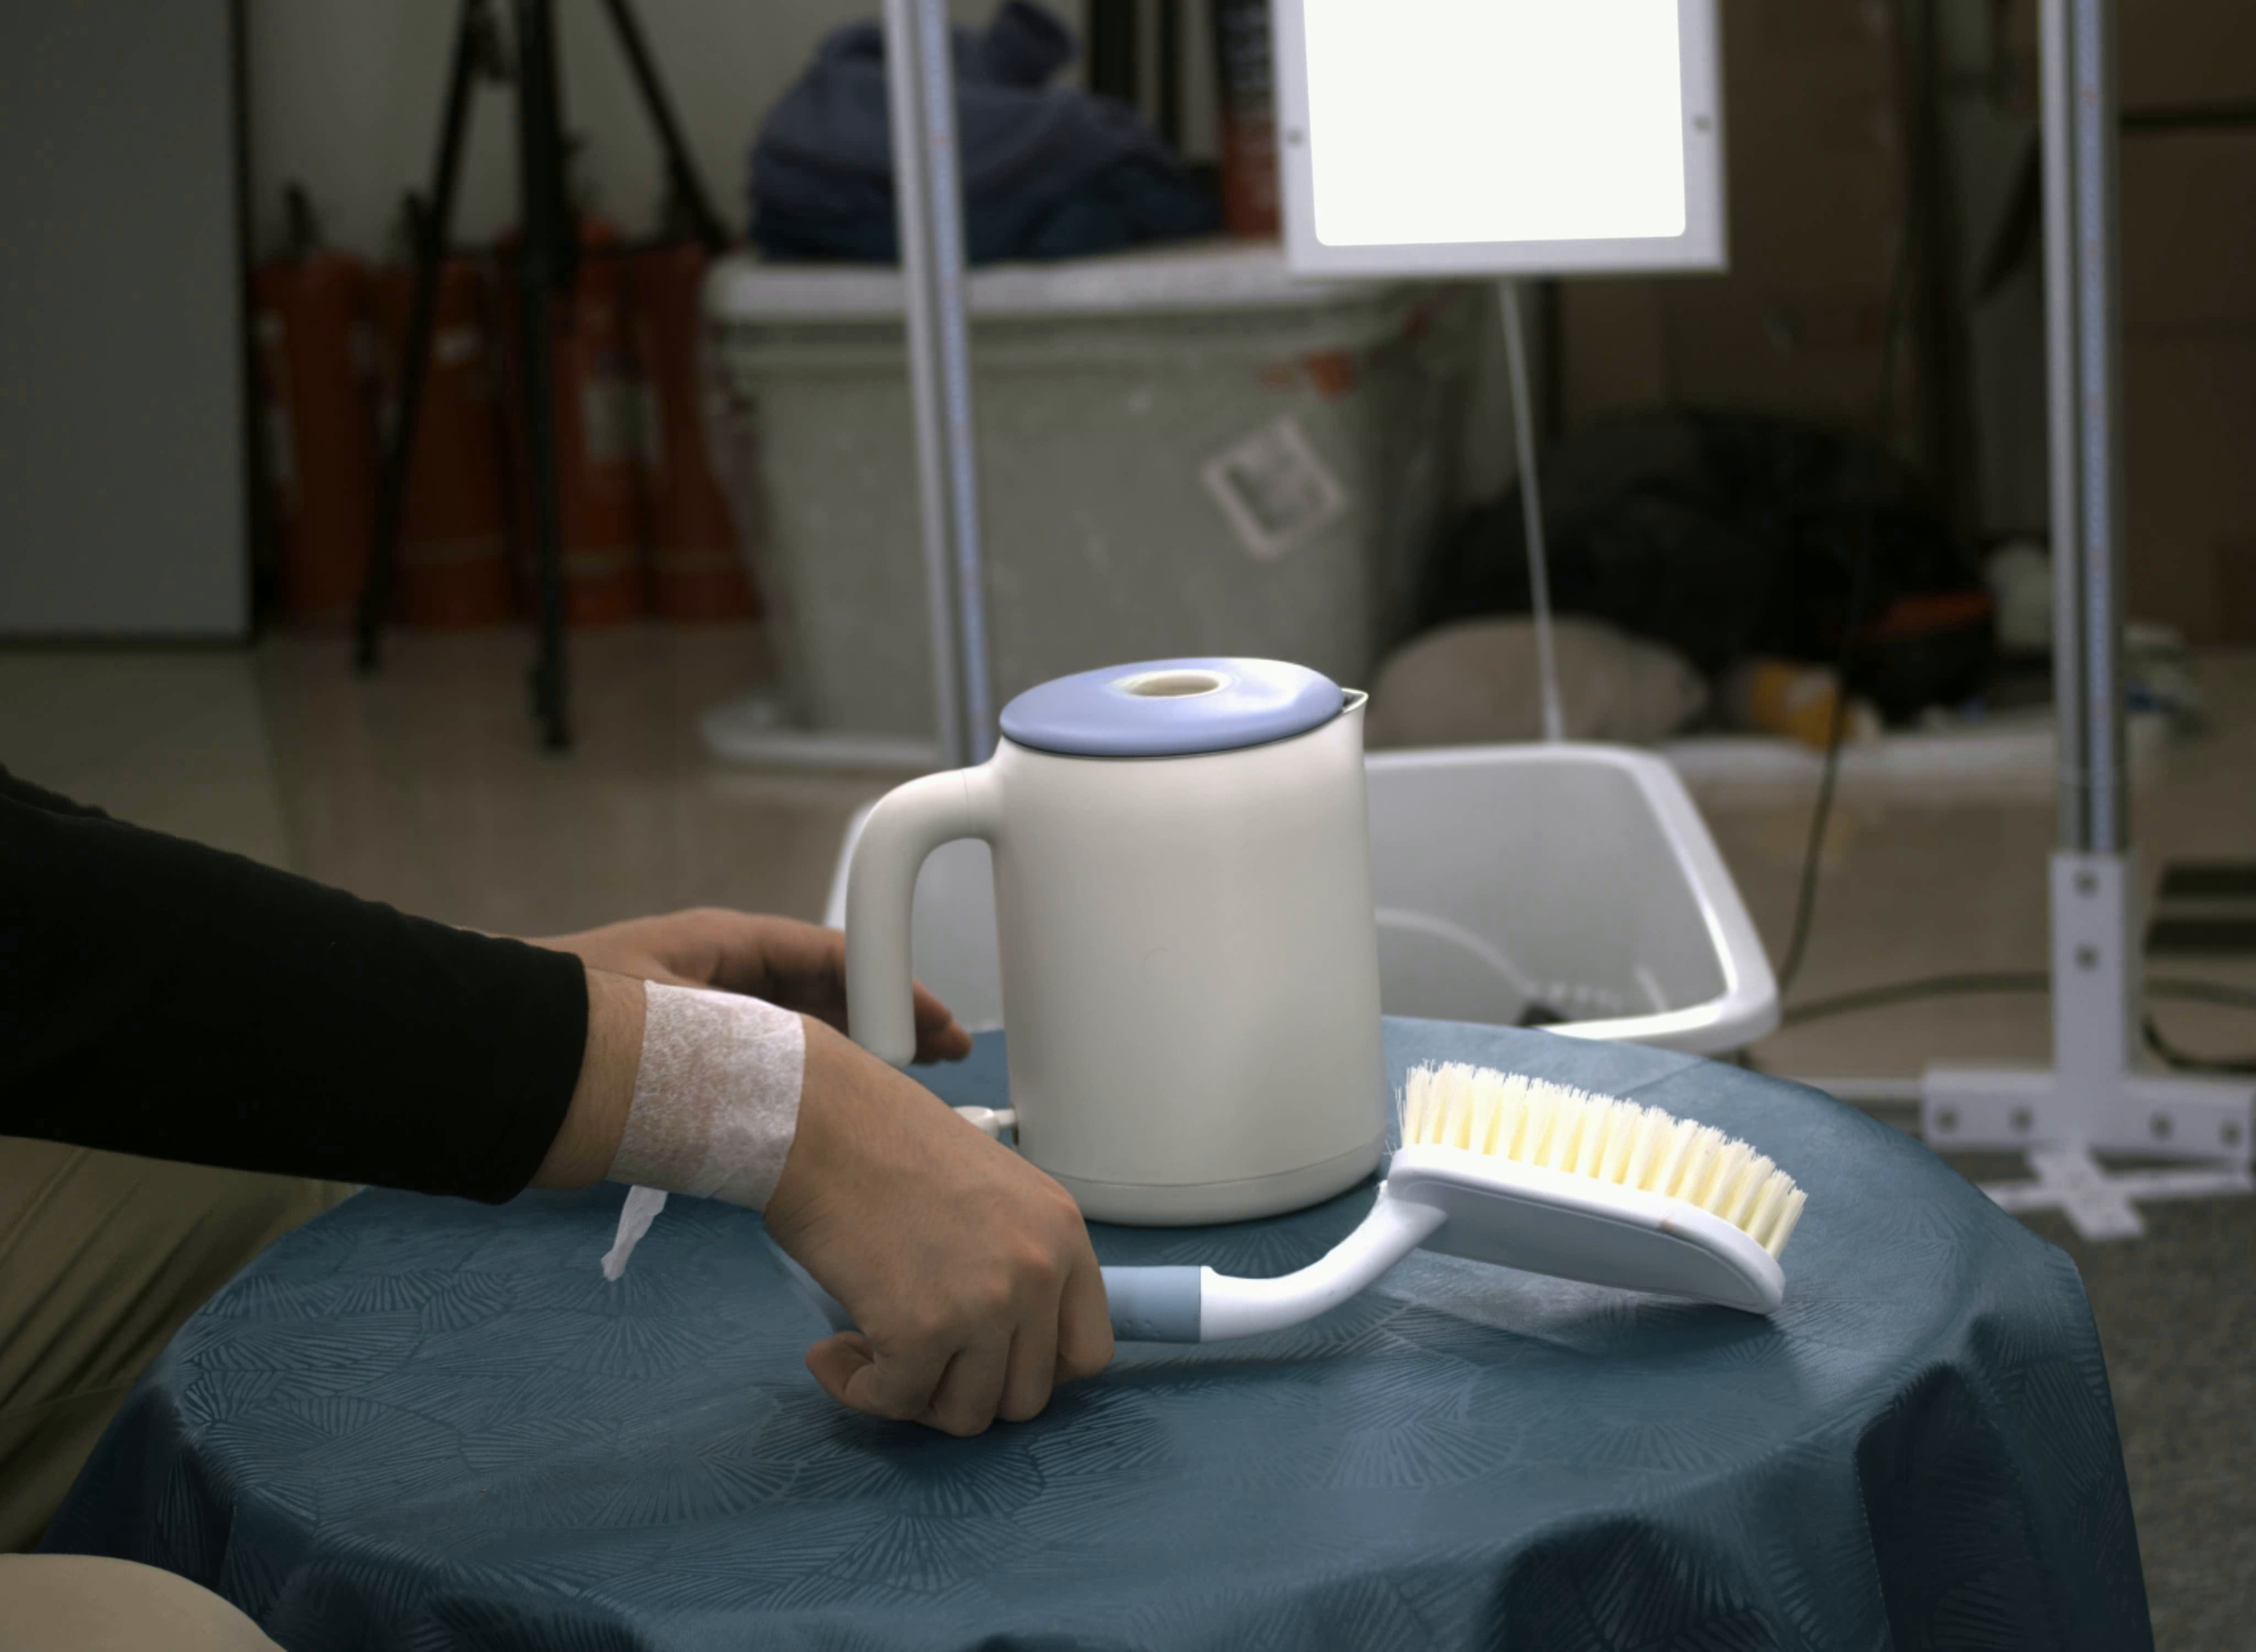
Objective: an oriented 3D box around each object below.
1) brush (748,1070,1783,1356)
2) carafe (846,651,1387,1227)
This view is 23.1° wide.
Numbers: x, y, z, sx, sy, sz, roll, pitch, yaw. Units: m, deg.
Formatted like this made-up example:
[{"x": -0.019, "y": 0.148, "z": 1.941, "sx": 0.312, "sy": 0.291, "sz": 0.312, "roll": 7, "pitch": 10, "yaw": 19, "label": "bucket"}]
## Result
[{"x": 0.043, "y": 0.114, "z": 1.728, "sx": 0.325, "sy": 0.083, "sz": 0.084, "roll": 1, "pitch": 25, "yaw": 4, "label": "brush"}, {"x": -0.004, "y": 0.041, "z": 1.886, "sx": 0.189, "sy": 0.183, "sz": 0.133, "roll": -8, "pitch": 14, "yaw": -8, "label": "carafe"}]
